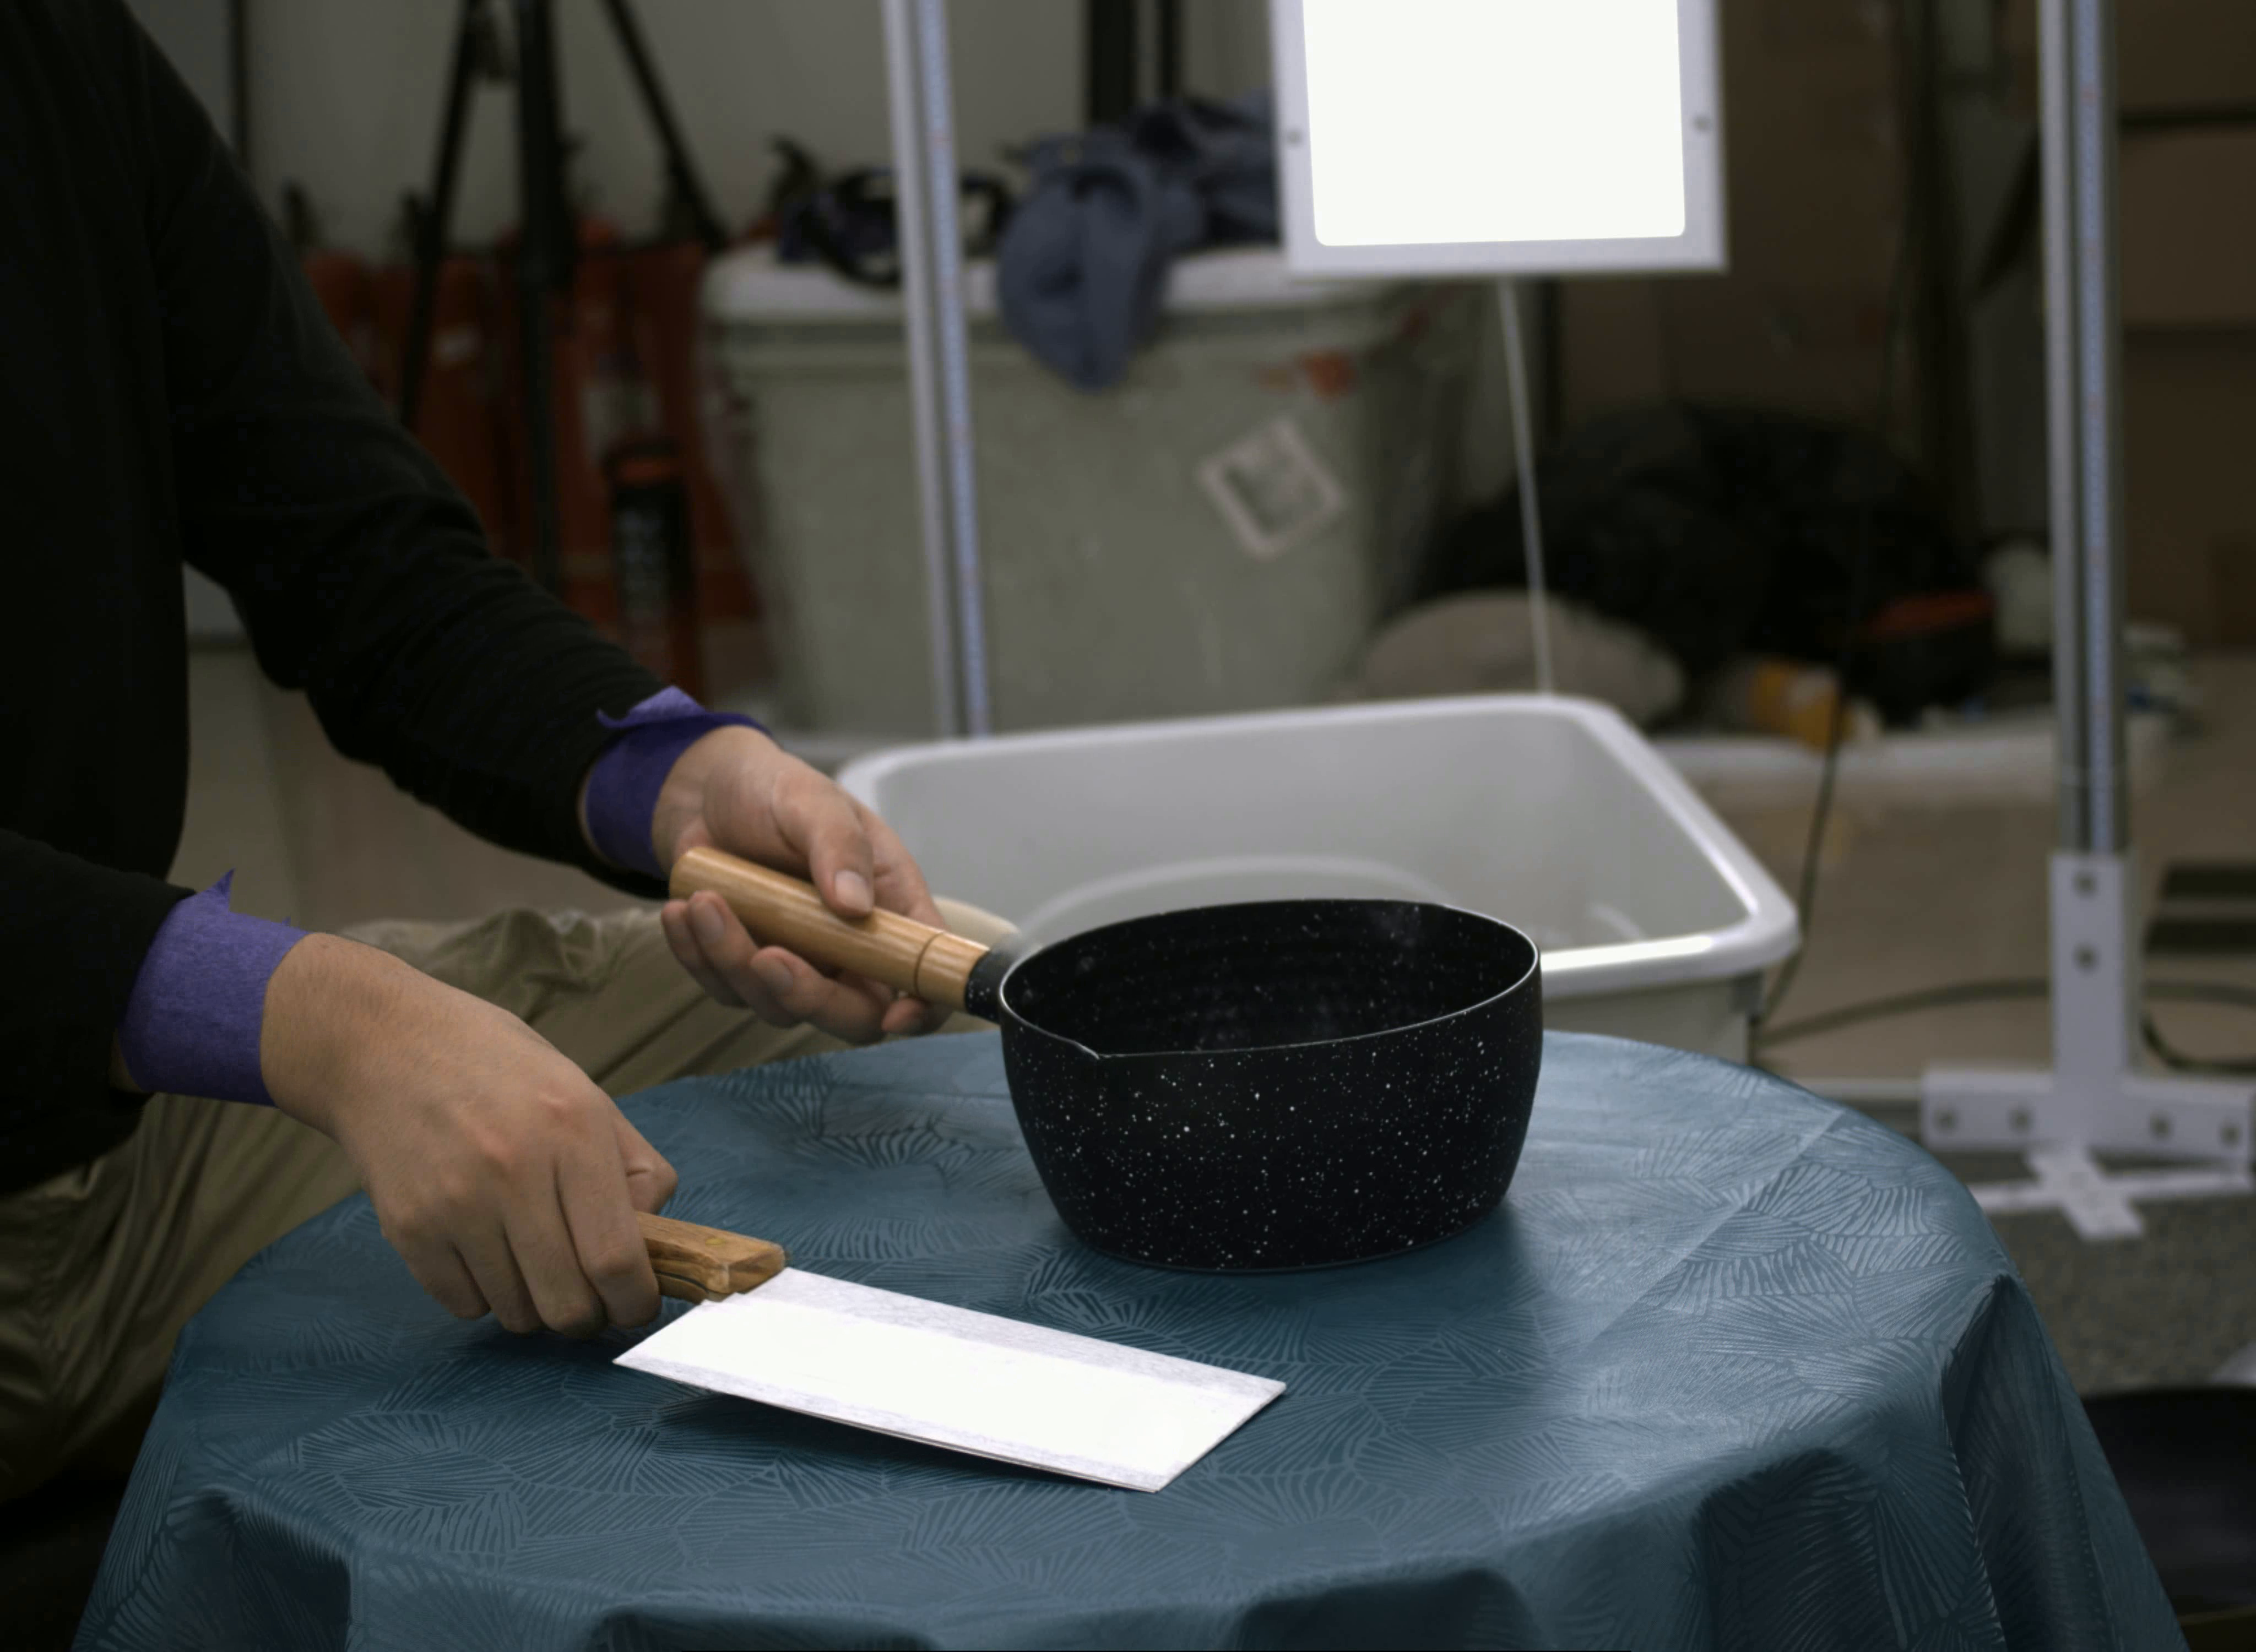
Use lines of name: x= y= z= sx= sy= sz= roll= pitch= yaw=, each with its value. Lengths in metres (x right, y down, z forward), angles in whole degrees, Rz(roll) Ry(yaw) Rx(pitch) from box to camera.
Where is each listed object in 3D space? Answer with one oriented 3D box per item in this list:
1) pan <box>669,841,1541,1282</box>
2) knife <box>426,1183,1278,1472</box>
pan: x=-0.018 y=0.073 z=1.901 sx=0.349 sy=0.108 sz=0.202 roll=6 pitch=18 yaw=33
knife: x=-0.103 y=0.159 z=1.724 sx=0.311 sy=0.021 sz=0.091 roll=10 pitch=21 yaw=29
